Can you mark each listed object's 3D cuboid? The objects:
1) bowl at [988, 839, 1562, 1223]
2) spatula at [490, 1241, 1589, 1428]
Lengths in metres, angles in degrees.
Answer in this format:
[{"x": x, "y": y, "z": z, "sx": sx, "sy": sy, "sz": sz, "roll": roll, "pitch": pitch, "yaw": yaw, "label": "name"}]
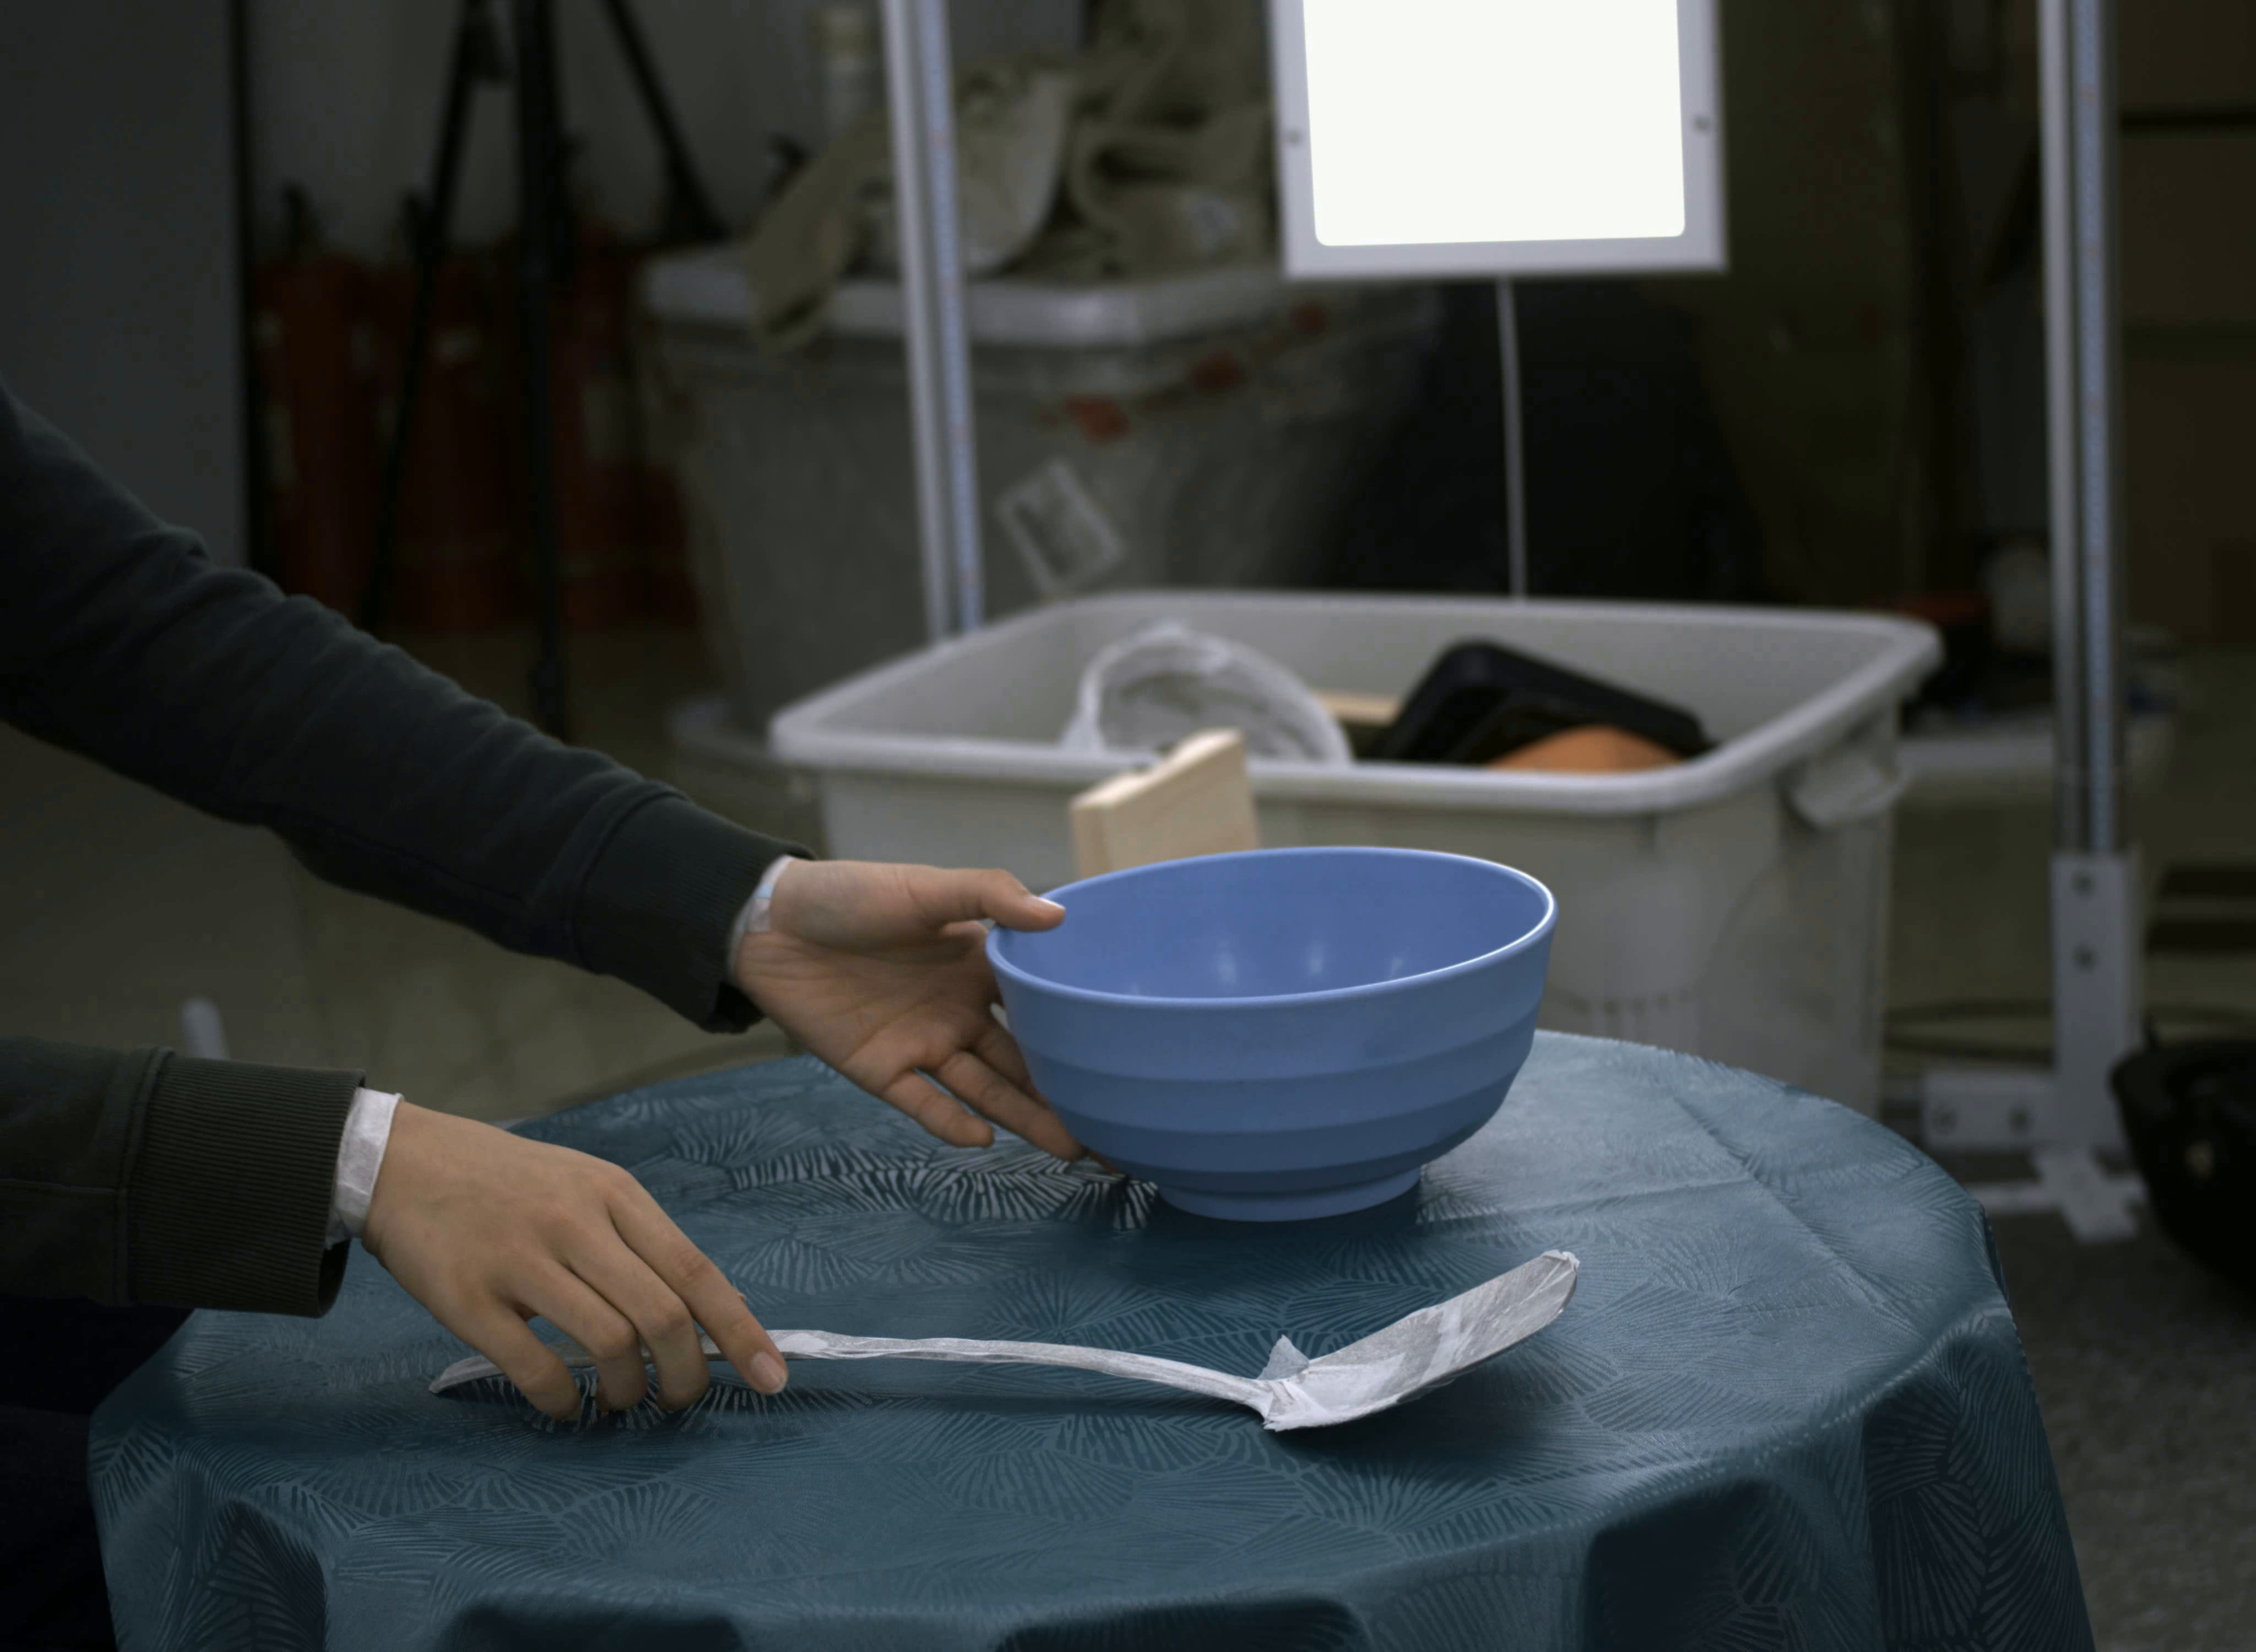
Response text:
[{"x": 0.053, "y": 0.076, "z": 1.883, "sx": 0.196, "sy": 0.096, "sz": 0.196, "roll": -4, "pitch": 15, "yaw": 0, "label": "bowl"}, {"x": -0.037, "y": 0.157, "z": 1.703, "sx": 0.369, "sy": 0.045, "sz": 0.097, "roll": 0, "pitch": 16, "yaw": 20, "label": "spatula"}]
